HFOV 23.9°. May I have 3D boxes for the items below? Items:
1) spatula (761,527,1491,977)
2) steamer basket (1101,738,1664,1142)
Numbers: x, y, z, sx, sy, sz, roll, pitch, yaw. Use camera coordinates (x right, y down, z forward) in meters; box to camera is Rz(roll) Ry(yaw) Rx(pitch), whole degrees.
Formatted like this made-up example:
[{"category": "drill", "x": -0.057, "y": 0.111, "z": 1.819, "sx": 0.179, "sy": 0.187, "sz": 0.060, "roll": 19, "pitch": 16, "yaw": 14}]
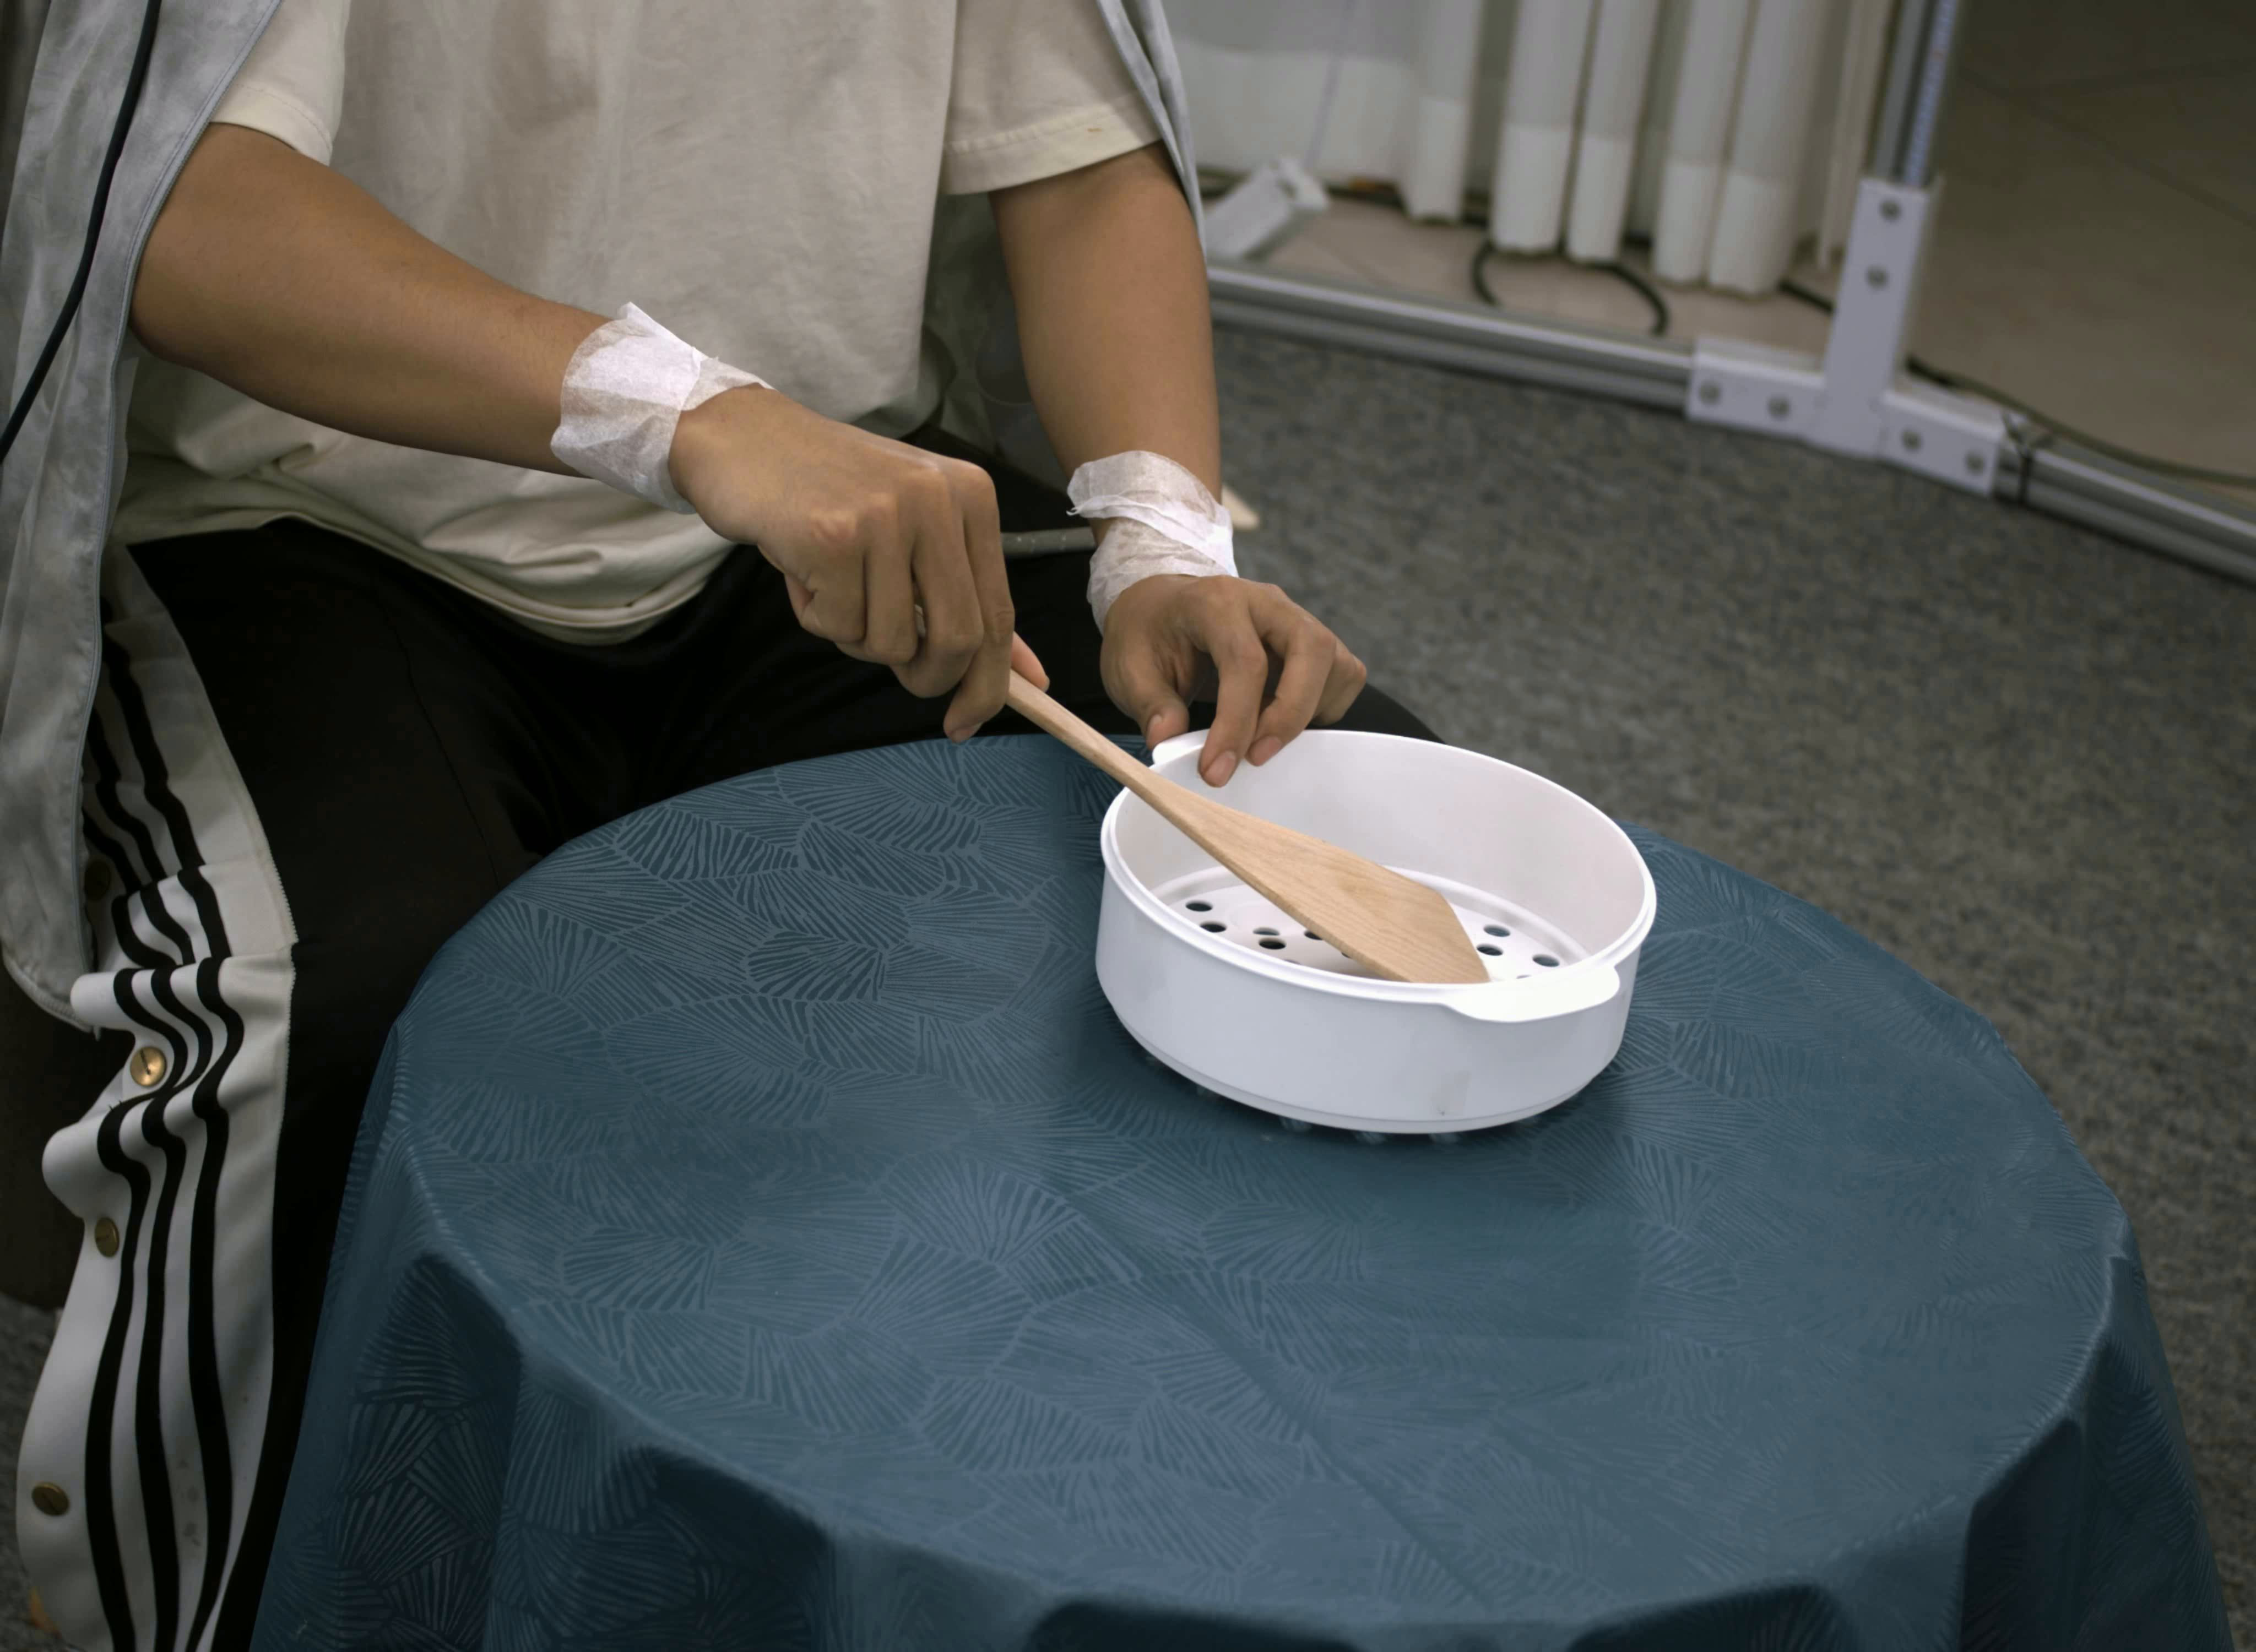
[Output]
[{"category": "spatula", "x": 0.004, "y": -0.022, "z": 1.868, "sx": 0.325, "sy": 0.016, "sz": 0.080, "roll": 32, "pitch": 22, "yaw": -25}, {"category": "steamer basket", "x": 0.089, "y": 0.042, "z": 1.913, "sx": 0.200, "sy": 0.069, "sz": 0.232, "roll": -9, "pitch": 30, "yaw": -30}]
